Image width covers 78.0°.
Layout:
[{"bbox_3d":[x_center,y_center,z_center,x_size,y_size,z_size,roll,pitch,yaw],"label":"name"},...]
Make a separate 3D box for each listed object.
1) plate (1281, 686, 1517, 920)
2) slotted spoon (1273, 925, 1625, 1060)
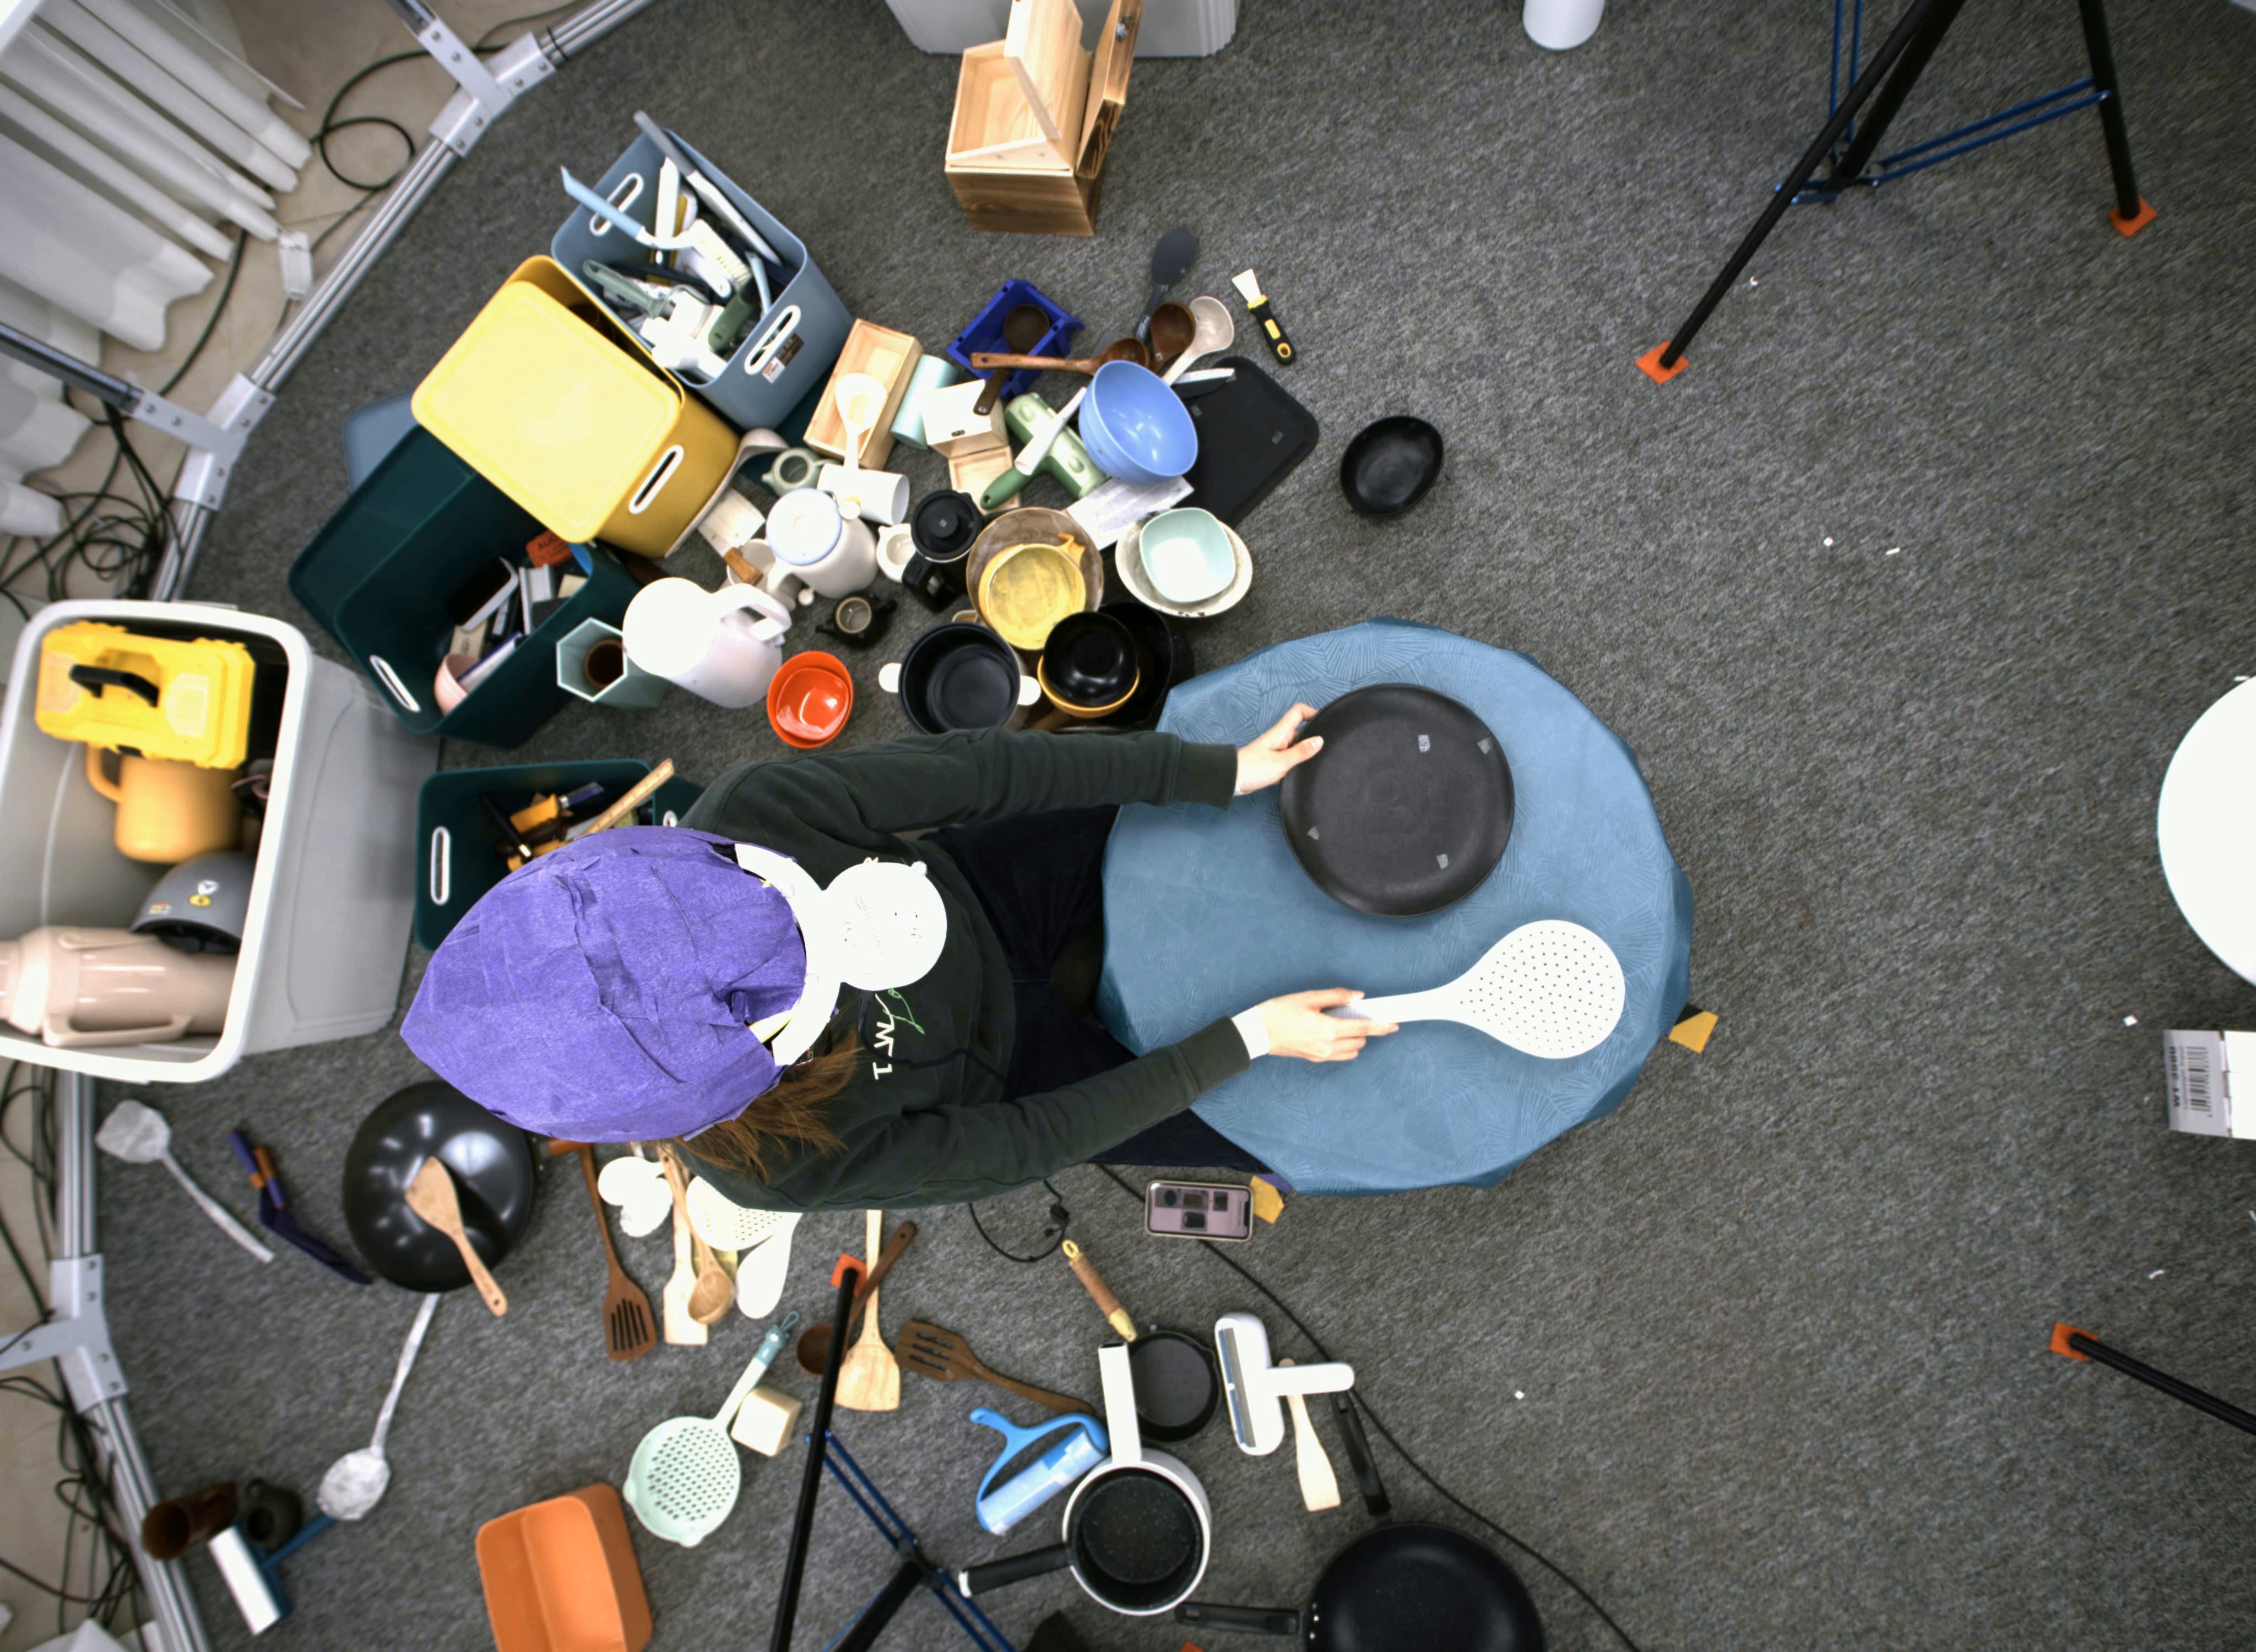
[{"bbox_3d":[0.280,-0.025,1.427,0.245,0.023,0.243,0,88,1],"label":"plate"},{"bbox_3d":[0.321,0.181,1.400,0.351,0.046,0.134,-7,75,8],"label":"slotted spoon"}]
